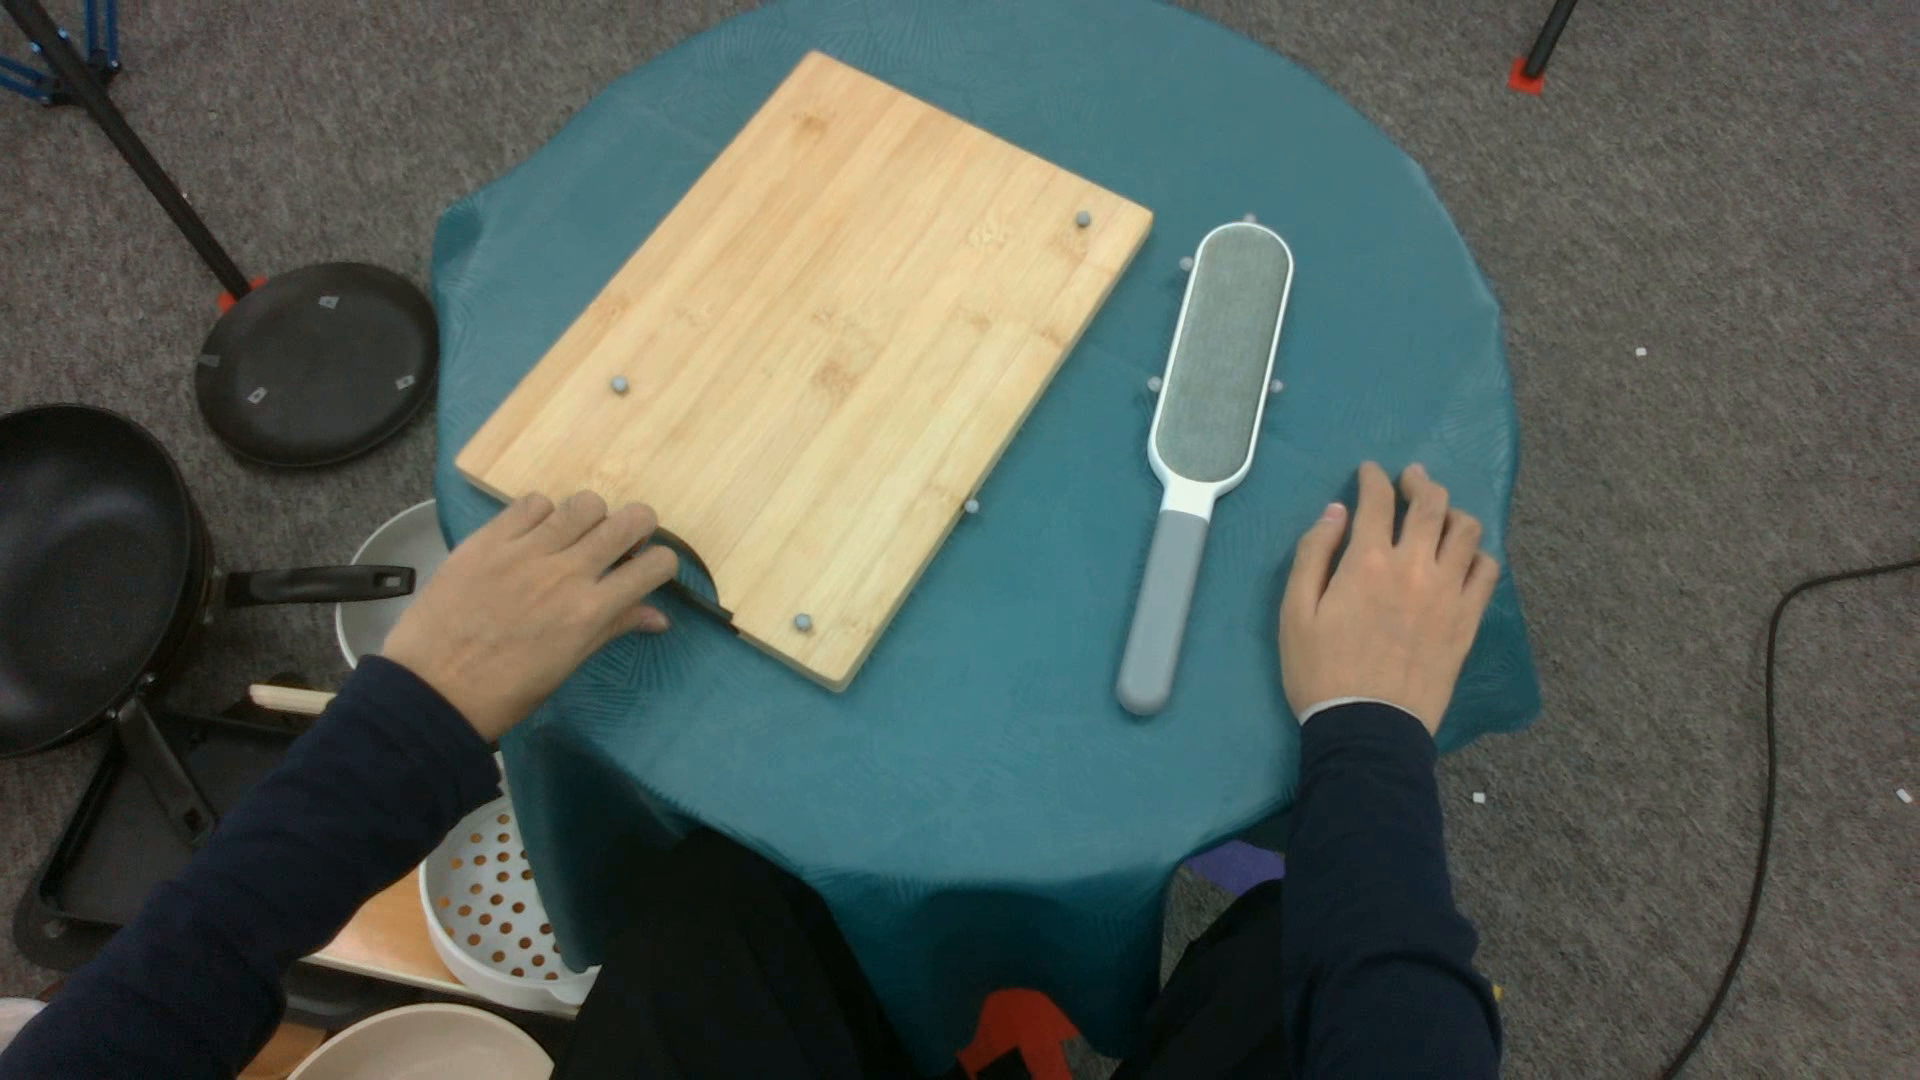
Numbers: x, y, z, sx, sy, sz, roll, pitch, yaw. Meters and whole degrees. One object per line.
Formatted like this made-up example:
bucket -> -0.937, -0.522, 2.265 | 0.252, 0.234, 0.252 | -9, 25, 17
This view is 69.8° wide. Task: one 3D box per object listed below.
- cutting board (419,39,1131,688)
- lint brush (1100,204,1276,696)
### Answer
cutting board -> -0.090, -0.117, 0.766 | 0.250, 0.023, 0.350 | 27, 66, 11
lint brush -> 0.119, -0.059, 0.740 | 0.060, 0.021, 0.310 | 17, 65, 0
